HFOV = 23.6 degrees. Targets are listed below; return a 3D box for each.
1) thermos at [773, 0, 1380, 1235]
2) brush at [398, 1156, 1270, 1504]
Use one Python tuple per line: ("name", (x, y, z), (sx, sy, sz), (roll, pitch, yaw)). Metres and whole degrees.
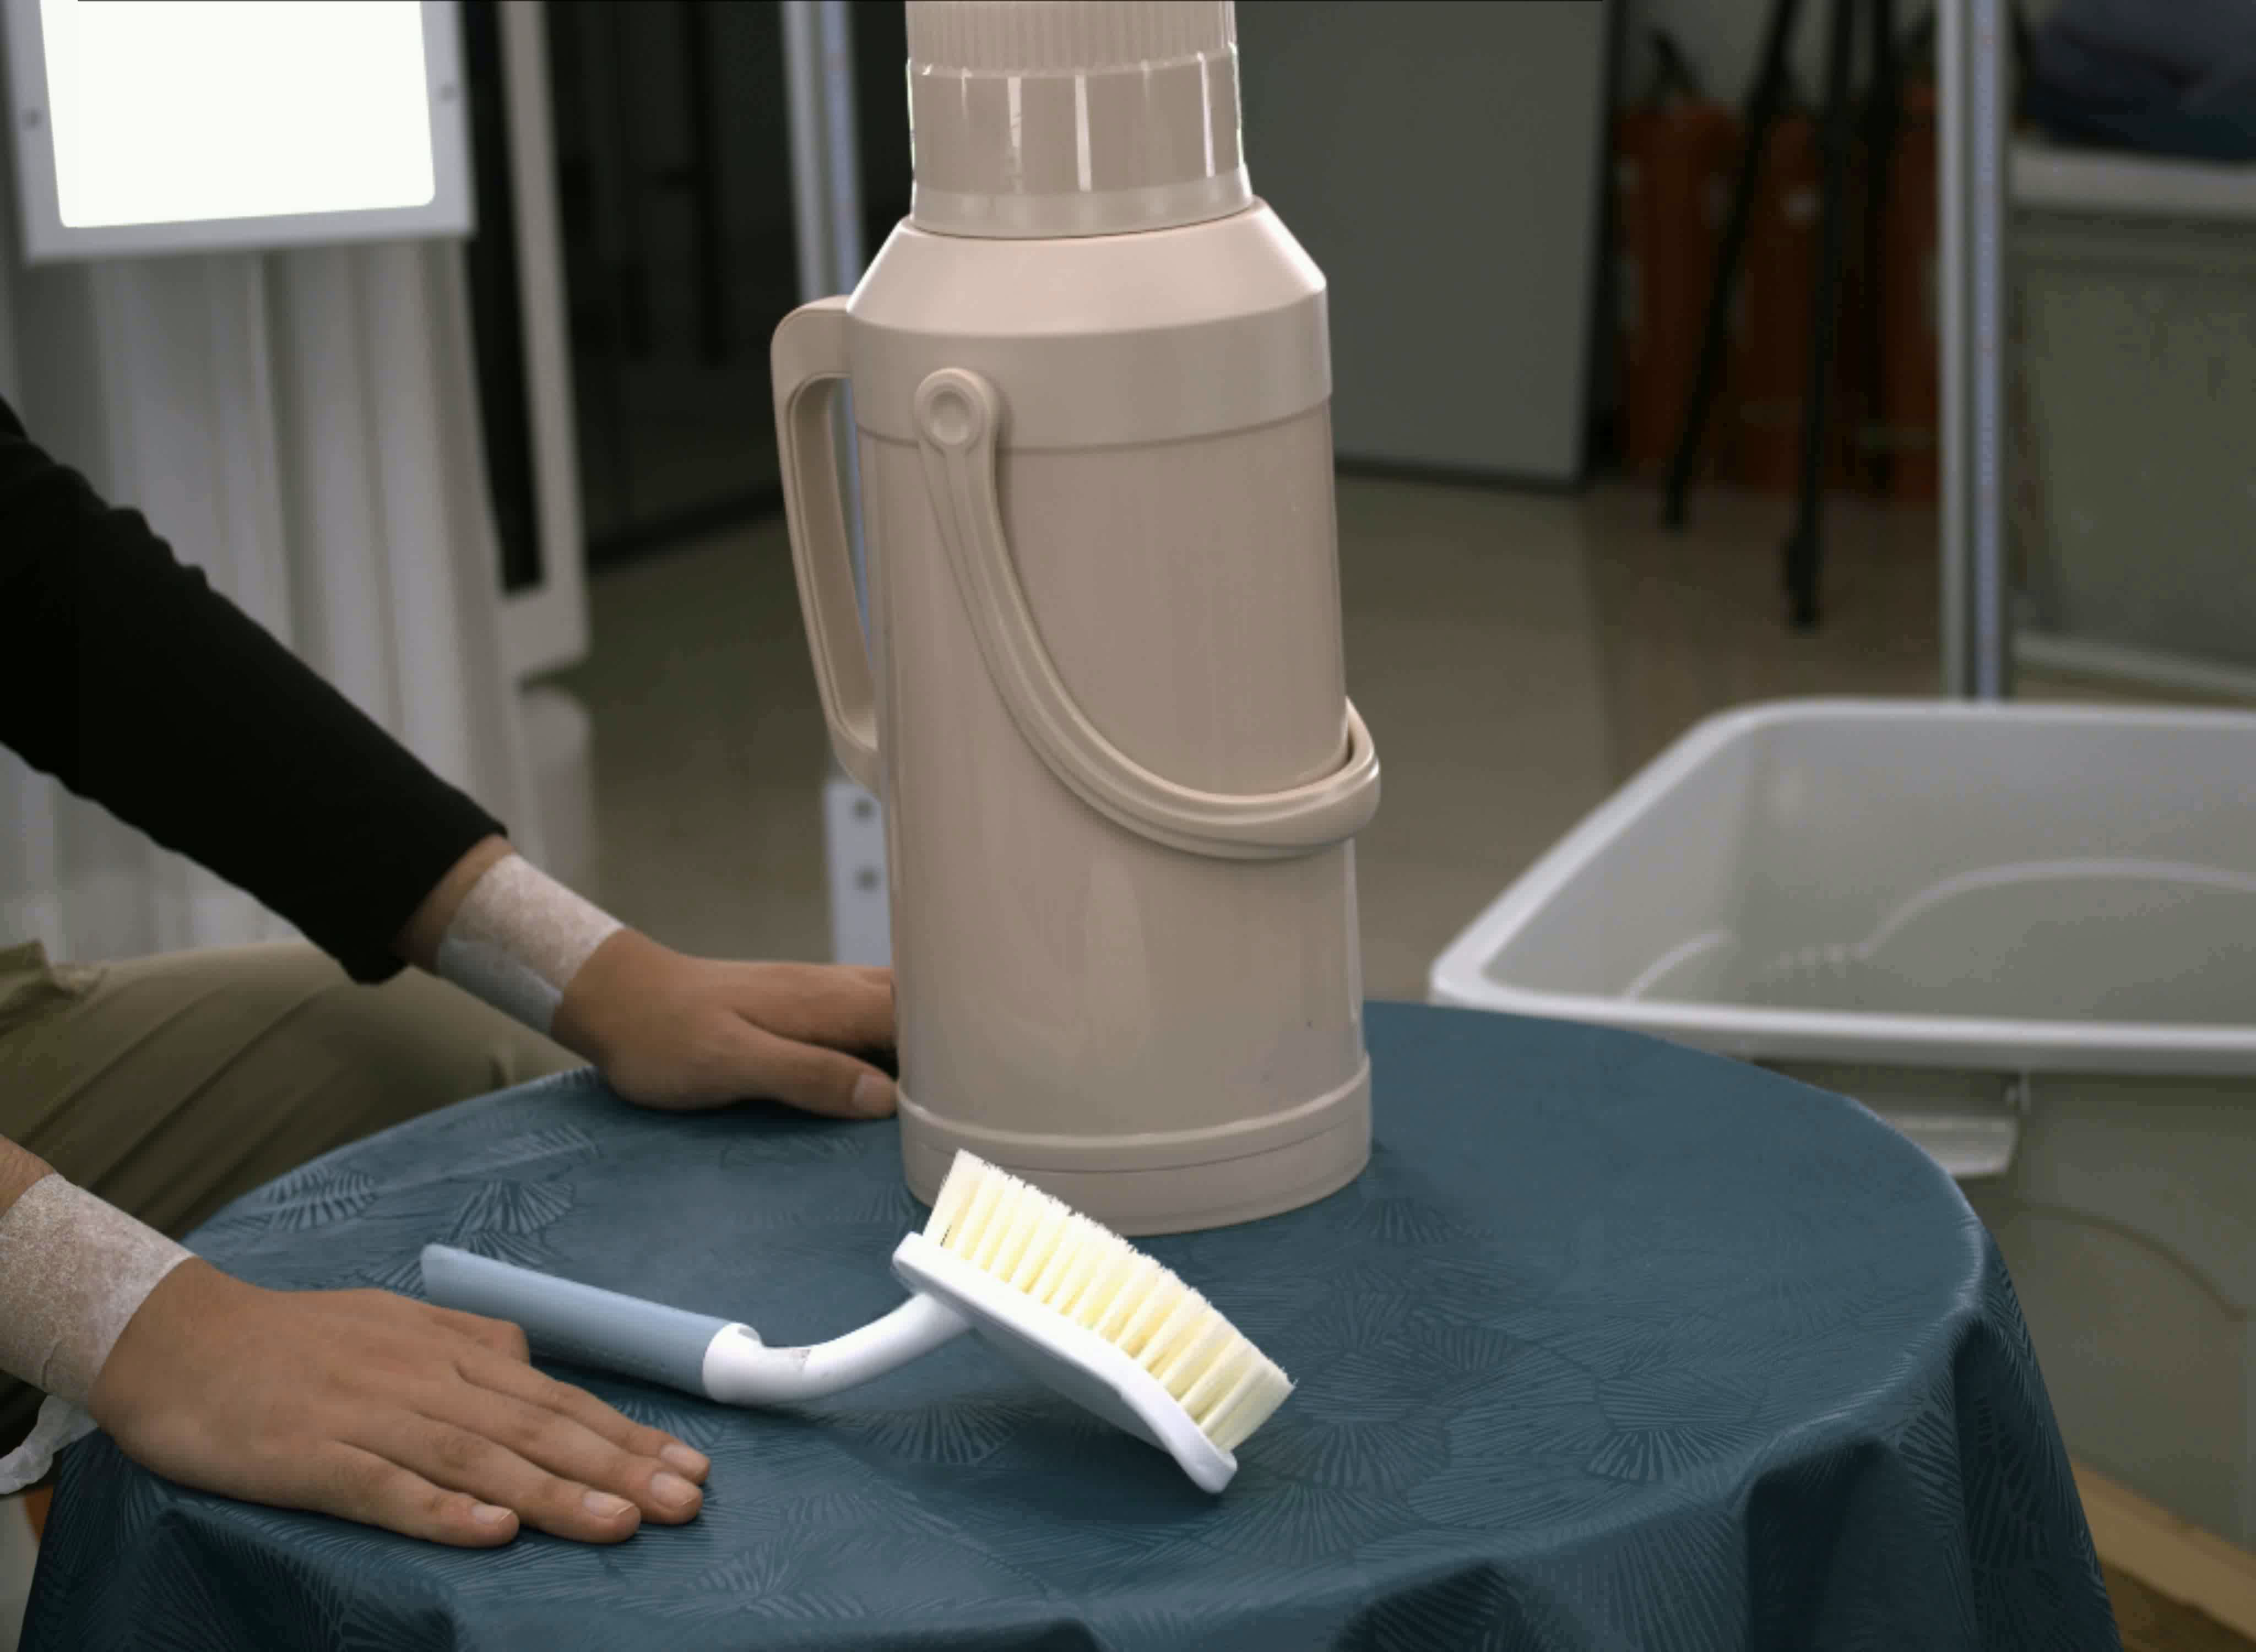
("thermos", (-0.019, -0.082, 1.764), (0.208, 0.410, 0.173), (4, 17, 30))
("brush", (-0.089, 0.129, 1.595), (0.328, 0.084, 0.083), (9, 24, 39))
